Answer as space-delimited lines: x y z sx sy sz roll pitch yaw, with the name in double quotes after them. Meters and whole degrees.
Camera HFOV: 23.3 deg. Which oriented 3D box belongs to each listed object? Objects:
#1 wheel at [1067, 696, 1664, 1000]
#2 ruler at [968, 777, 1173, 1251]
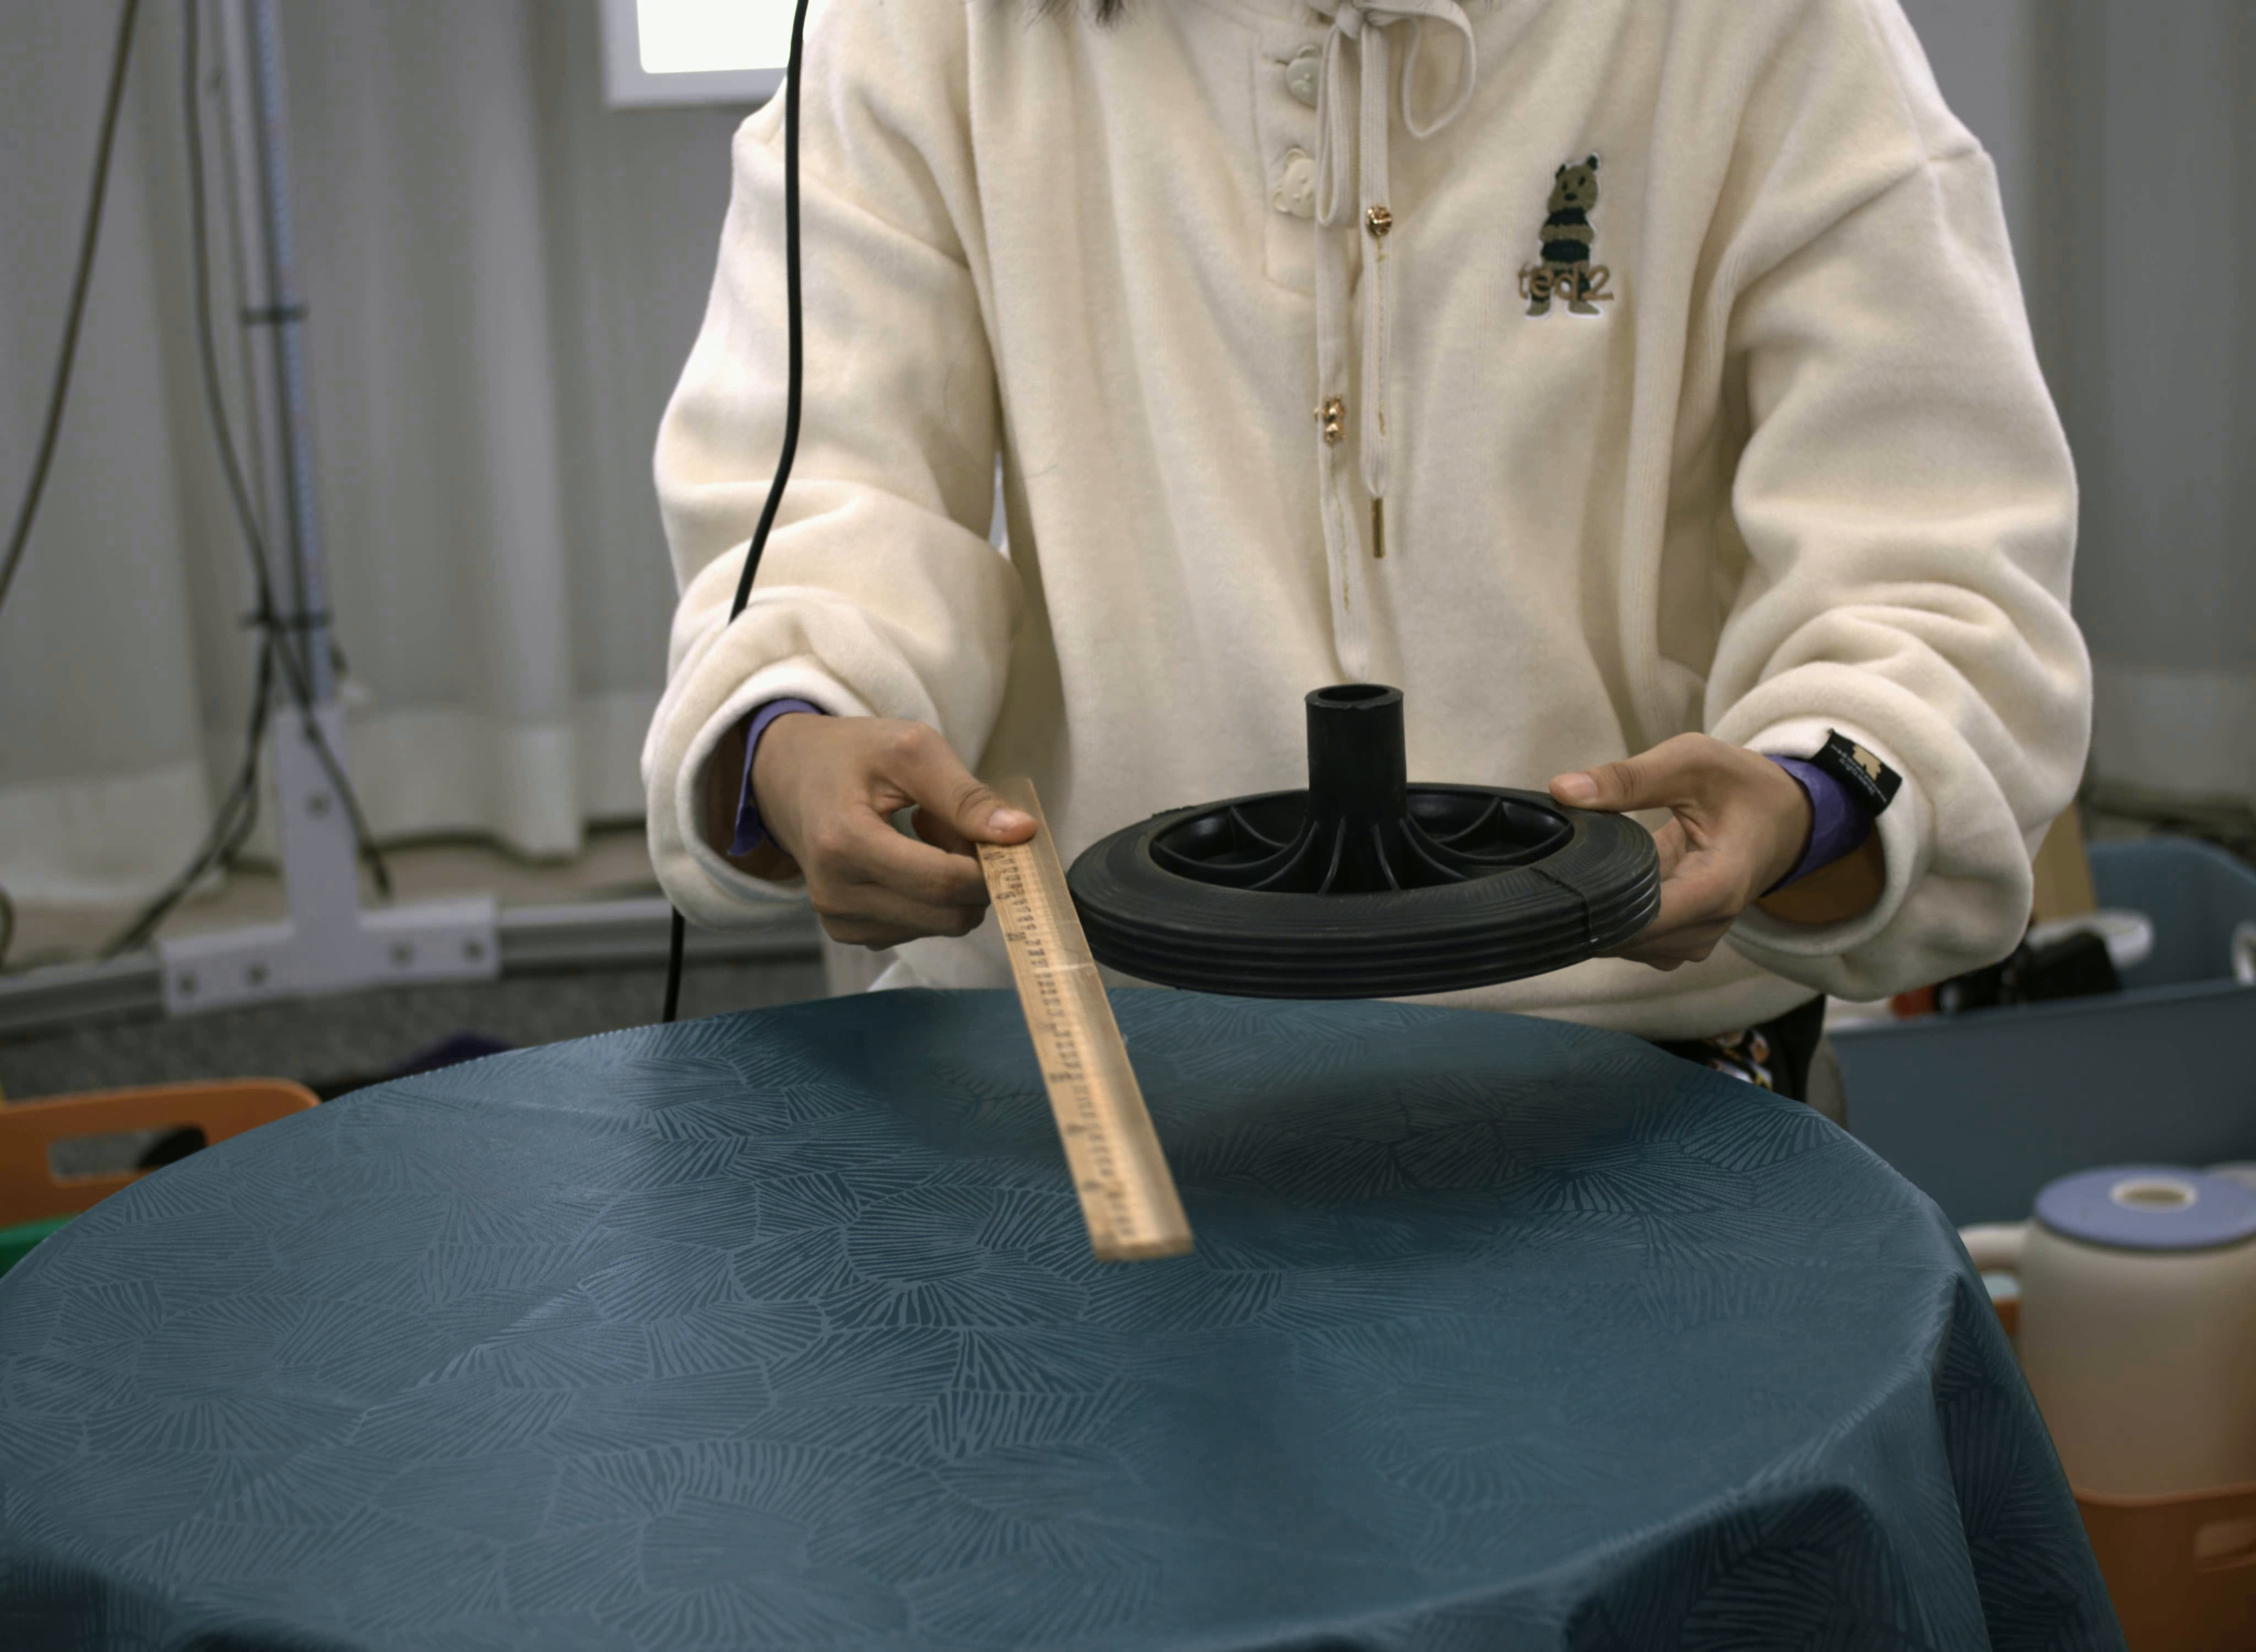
0.074 0.001 1.729 0.189 0.079 0.189 -5 14 -8 "wheel"
-0.022 0.045 1.624 0.027 0.006 0.504 -8 14 -3 "ruler"
